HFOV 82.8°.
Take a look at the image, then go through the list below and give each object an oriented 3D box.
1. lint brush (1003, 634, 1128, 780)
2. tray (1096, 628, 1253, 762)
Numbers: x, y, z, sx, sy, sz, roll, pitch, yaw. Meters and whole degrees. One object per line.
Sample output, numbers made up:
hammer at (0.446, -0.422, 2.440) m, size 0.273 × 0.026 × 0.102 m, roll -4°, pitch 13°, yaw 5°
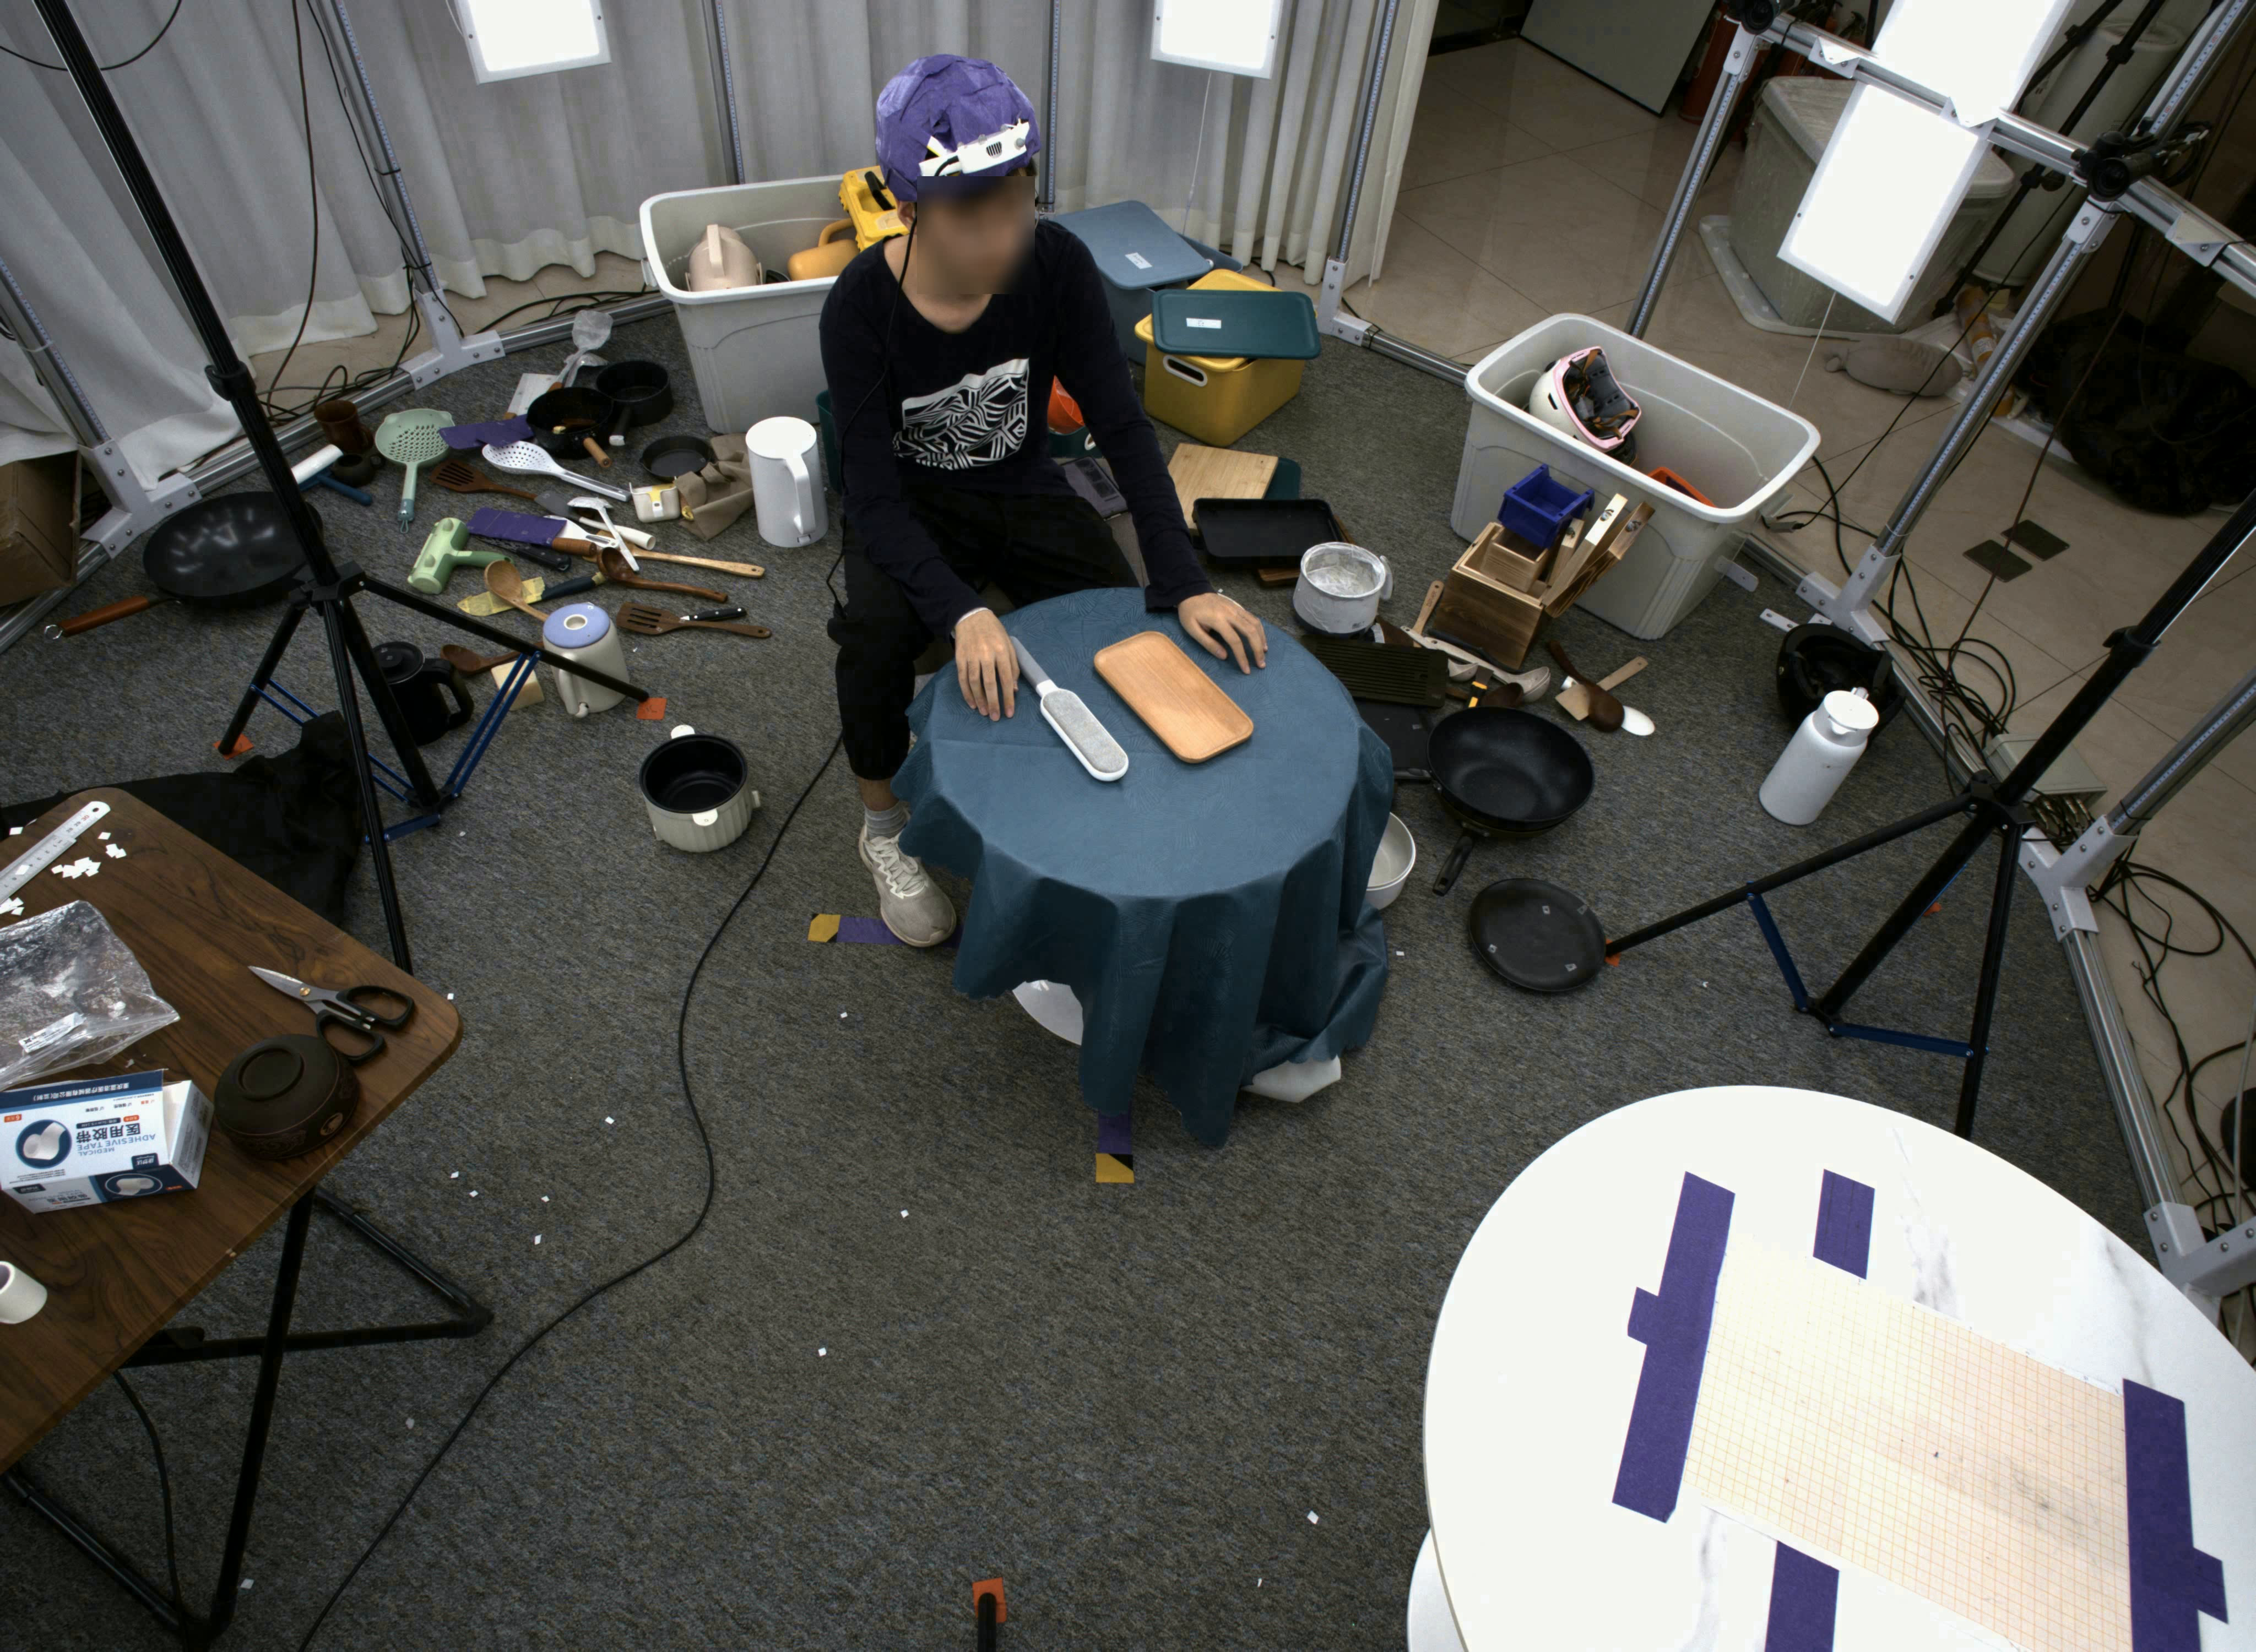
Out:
lint brush at (-0.093, -0.172, 1.792) m, size 0.060 × 0.020 × 0.315 m, roll -26°, pitch 55°, yaw -18°
tray at (0.063, -0.189, 1.824) m, size 0.131 × 0.022 × 0.256 m, roll -22°, pitch 54°, yaw -24°
